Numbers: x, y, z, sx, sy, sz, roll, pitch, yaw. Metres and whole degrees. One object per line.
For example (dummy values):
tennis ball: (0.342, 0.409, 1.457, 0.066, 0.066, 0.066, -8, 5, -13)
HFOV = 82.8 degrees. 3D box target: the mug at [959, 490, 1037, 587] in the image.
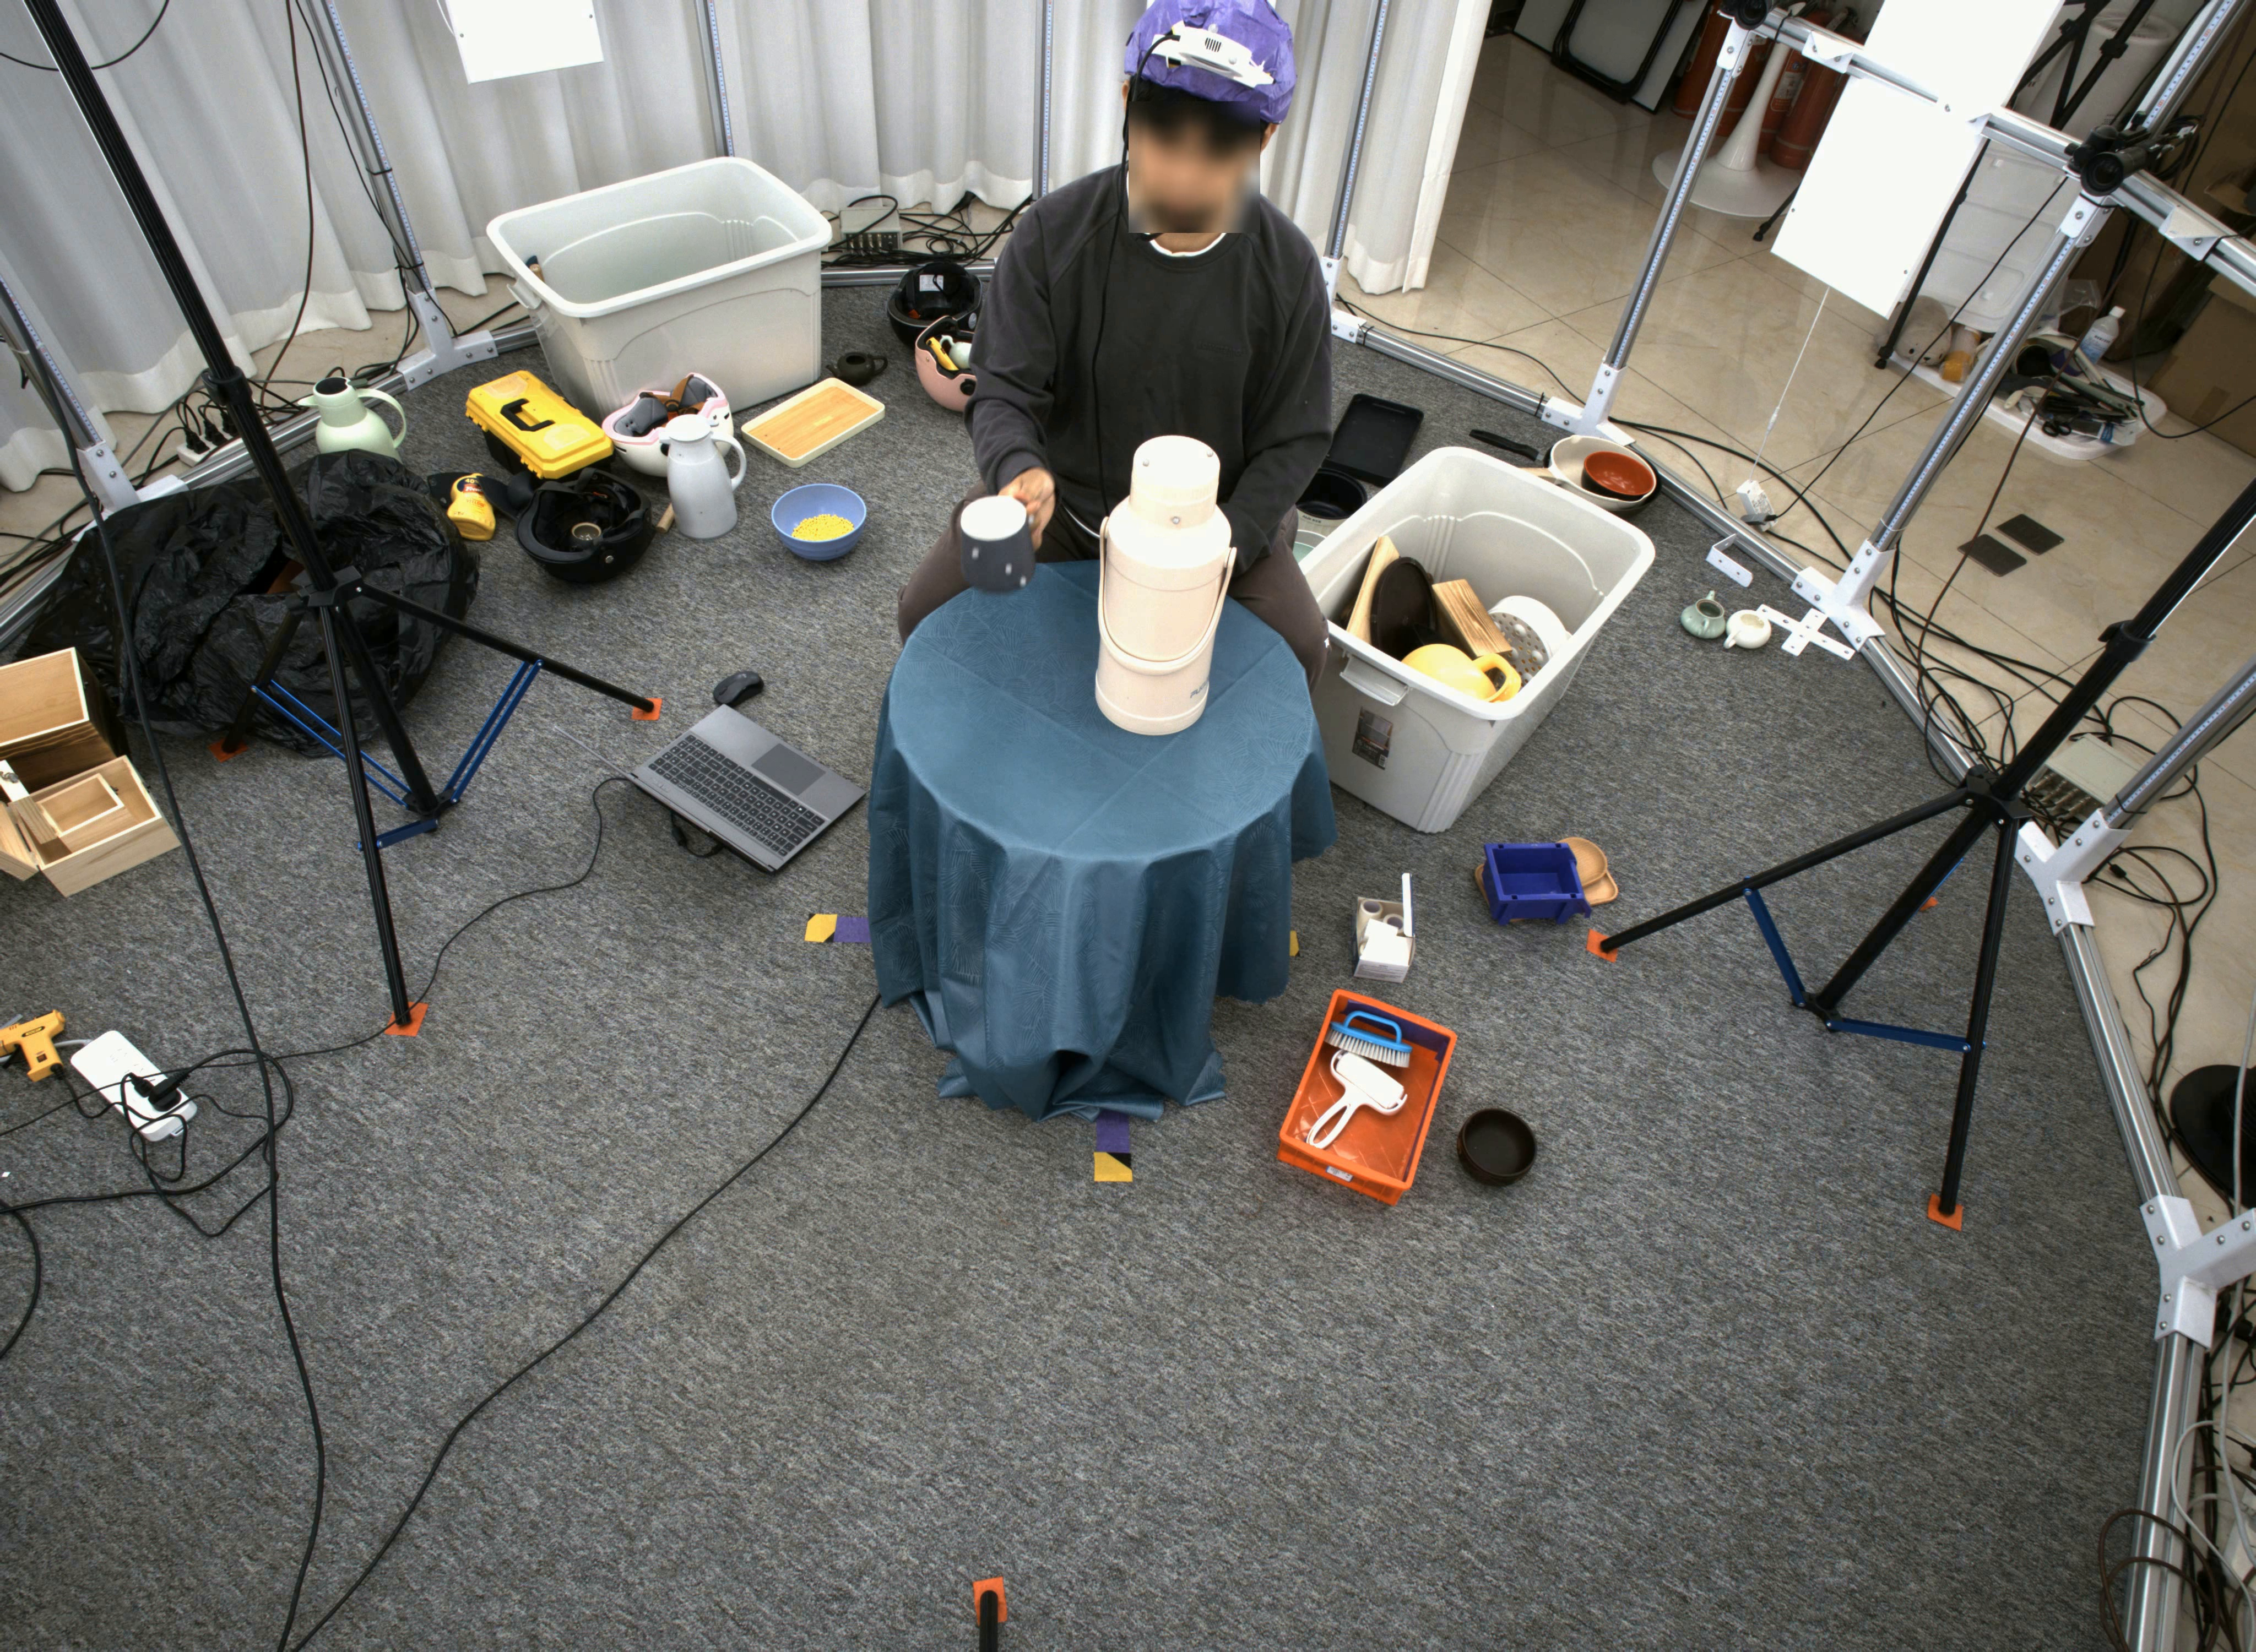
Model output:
mug: (-0.153, -0.360, 1.582, 0.094, 0.087, 0.125, 20, 50, 20)

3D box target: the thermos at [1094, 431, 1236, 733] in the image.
thermos: (0.050, -0.323, 1.694, 0.176, 0.396, 0.211, 15, 50, 8)
